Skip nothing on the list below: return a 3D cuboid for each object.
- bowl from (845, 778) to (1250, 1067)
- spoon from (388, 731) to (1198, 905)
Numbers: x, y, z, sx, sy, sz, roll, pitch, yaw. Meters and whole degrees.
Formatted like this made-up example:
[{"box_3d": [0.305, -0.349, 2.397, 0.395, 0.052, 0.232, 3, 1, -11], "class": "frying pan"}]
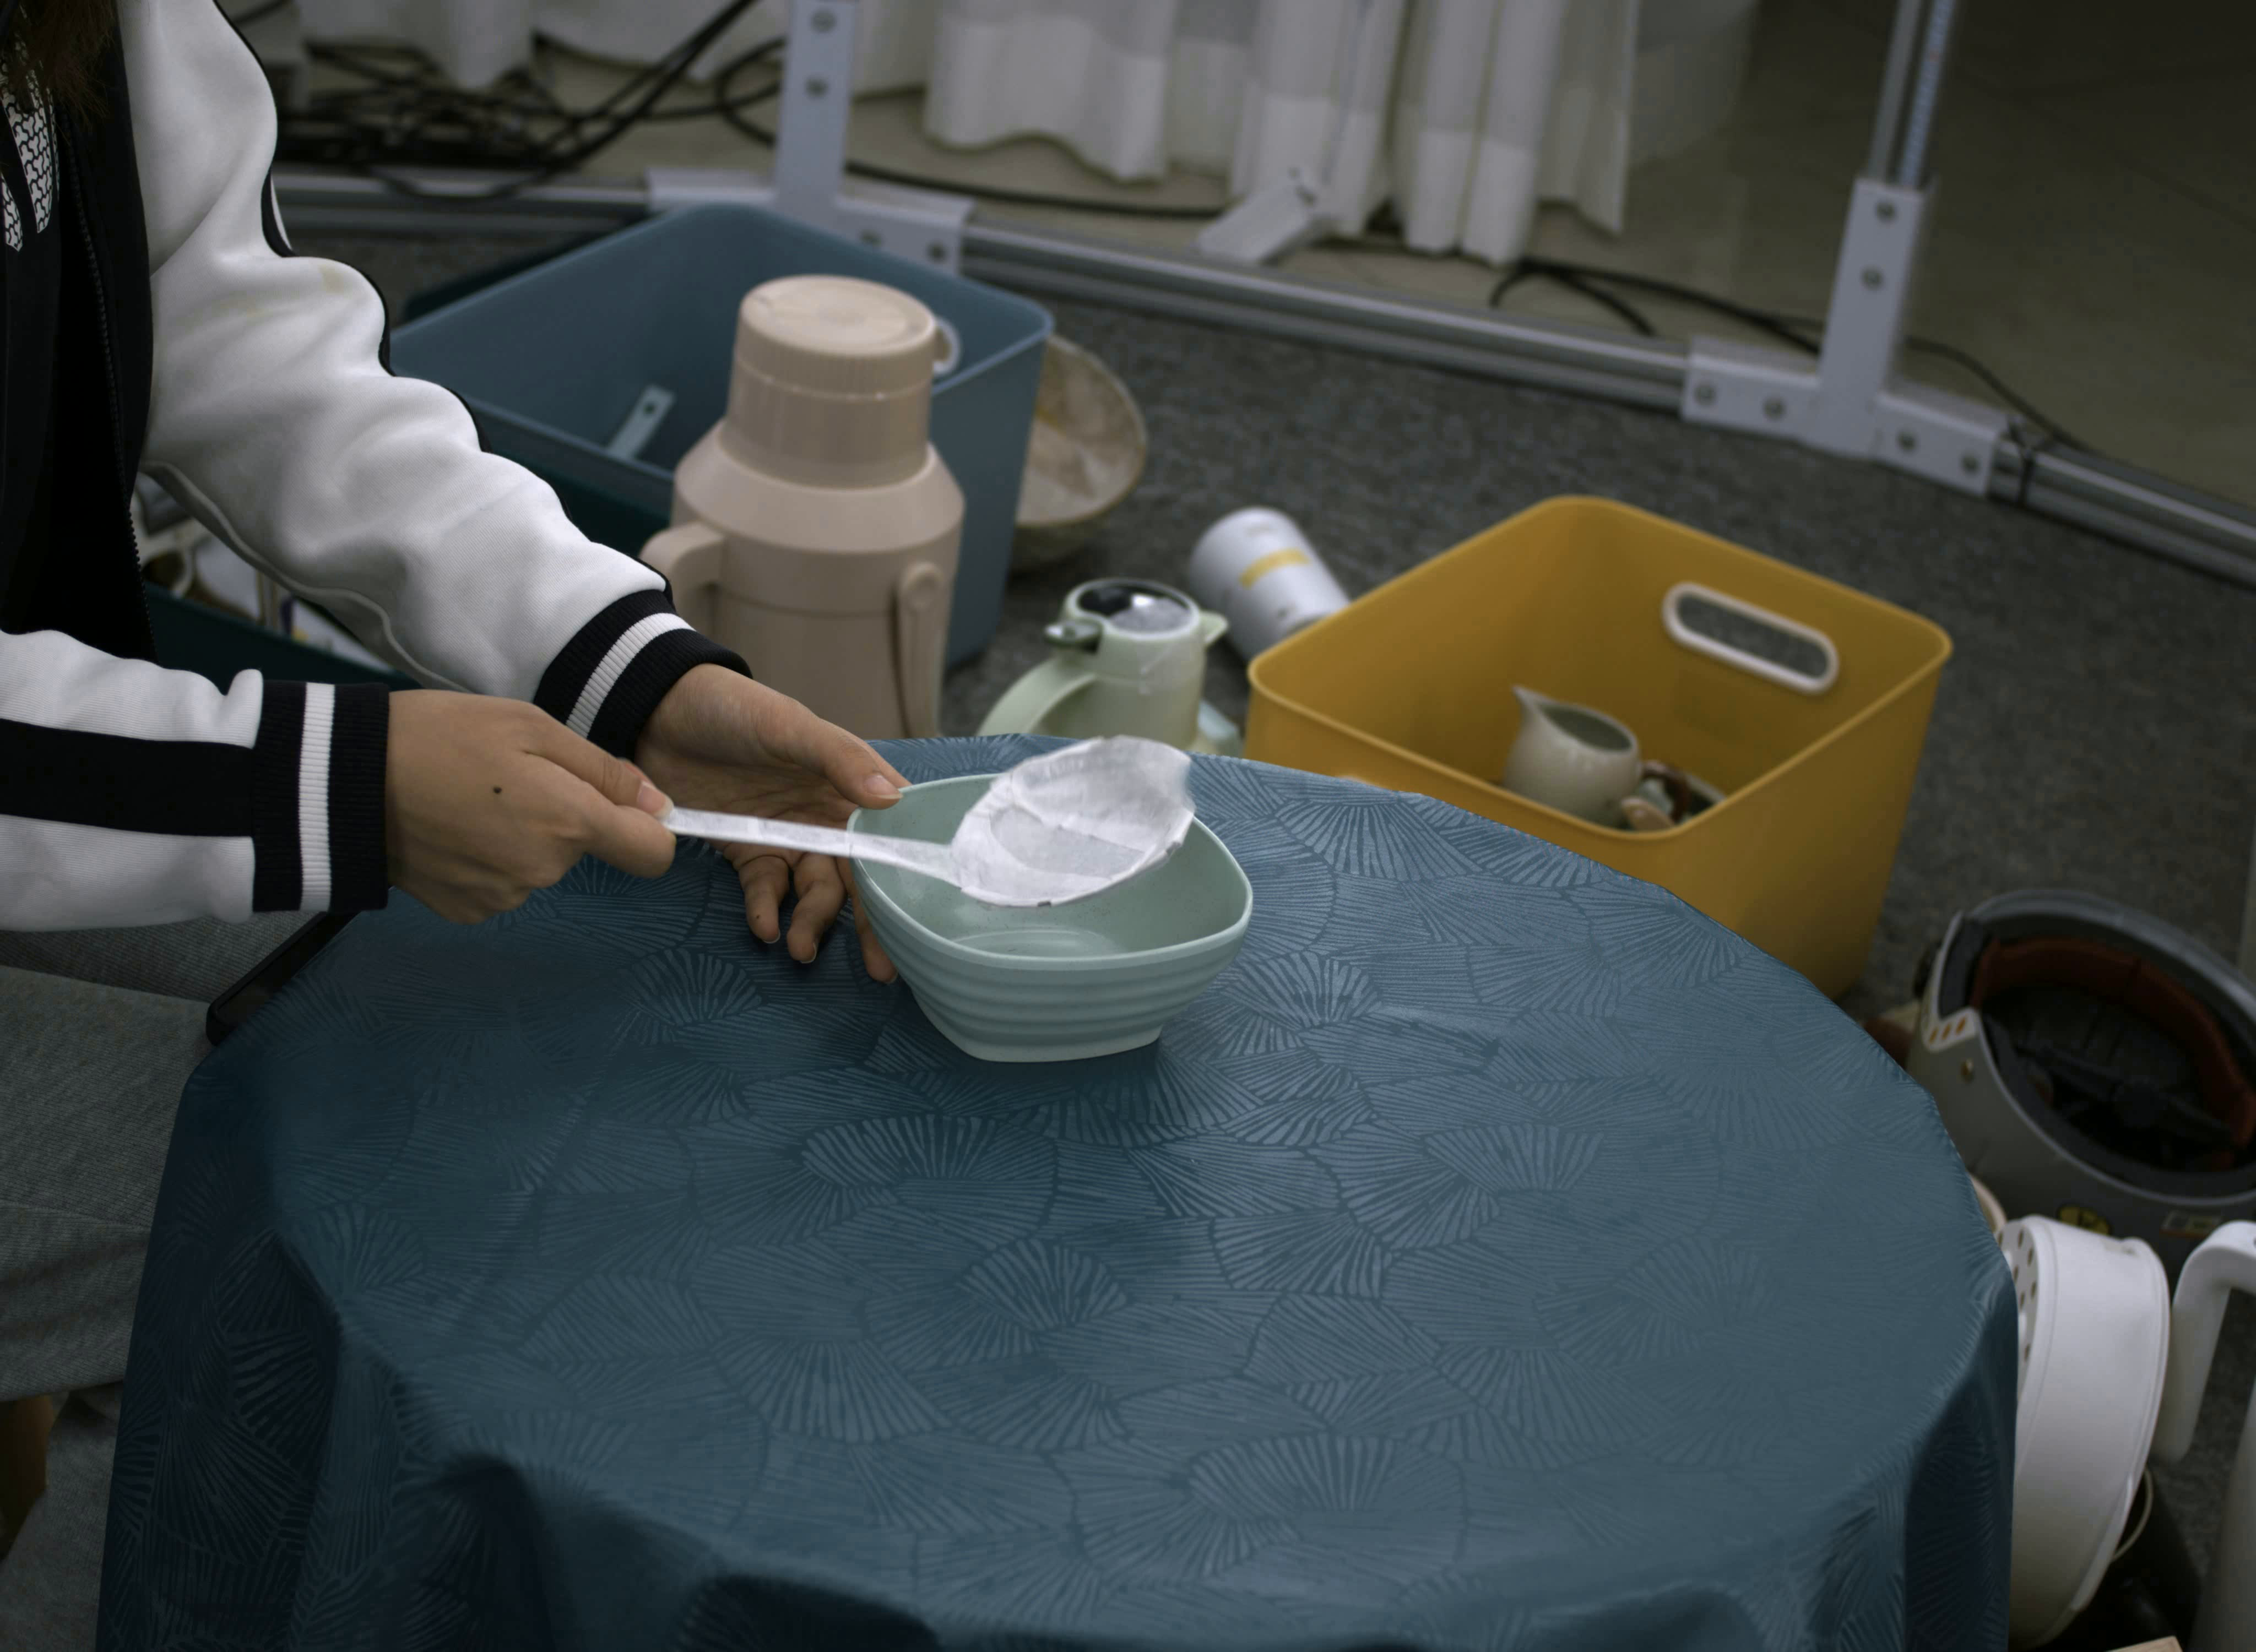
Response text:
[{"box_3d": [-0.032, 0.040, 1.900, 0.151, 0.058, 0.152, 5, 27, -3], "class": "bowl"}, {"box_3d": [-0.116, -0.022, 1.853, 0.276, 0.059, 0.101, 12, 26, -8], "class": "spoon"}]
